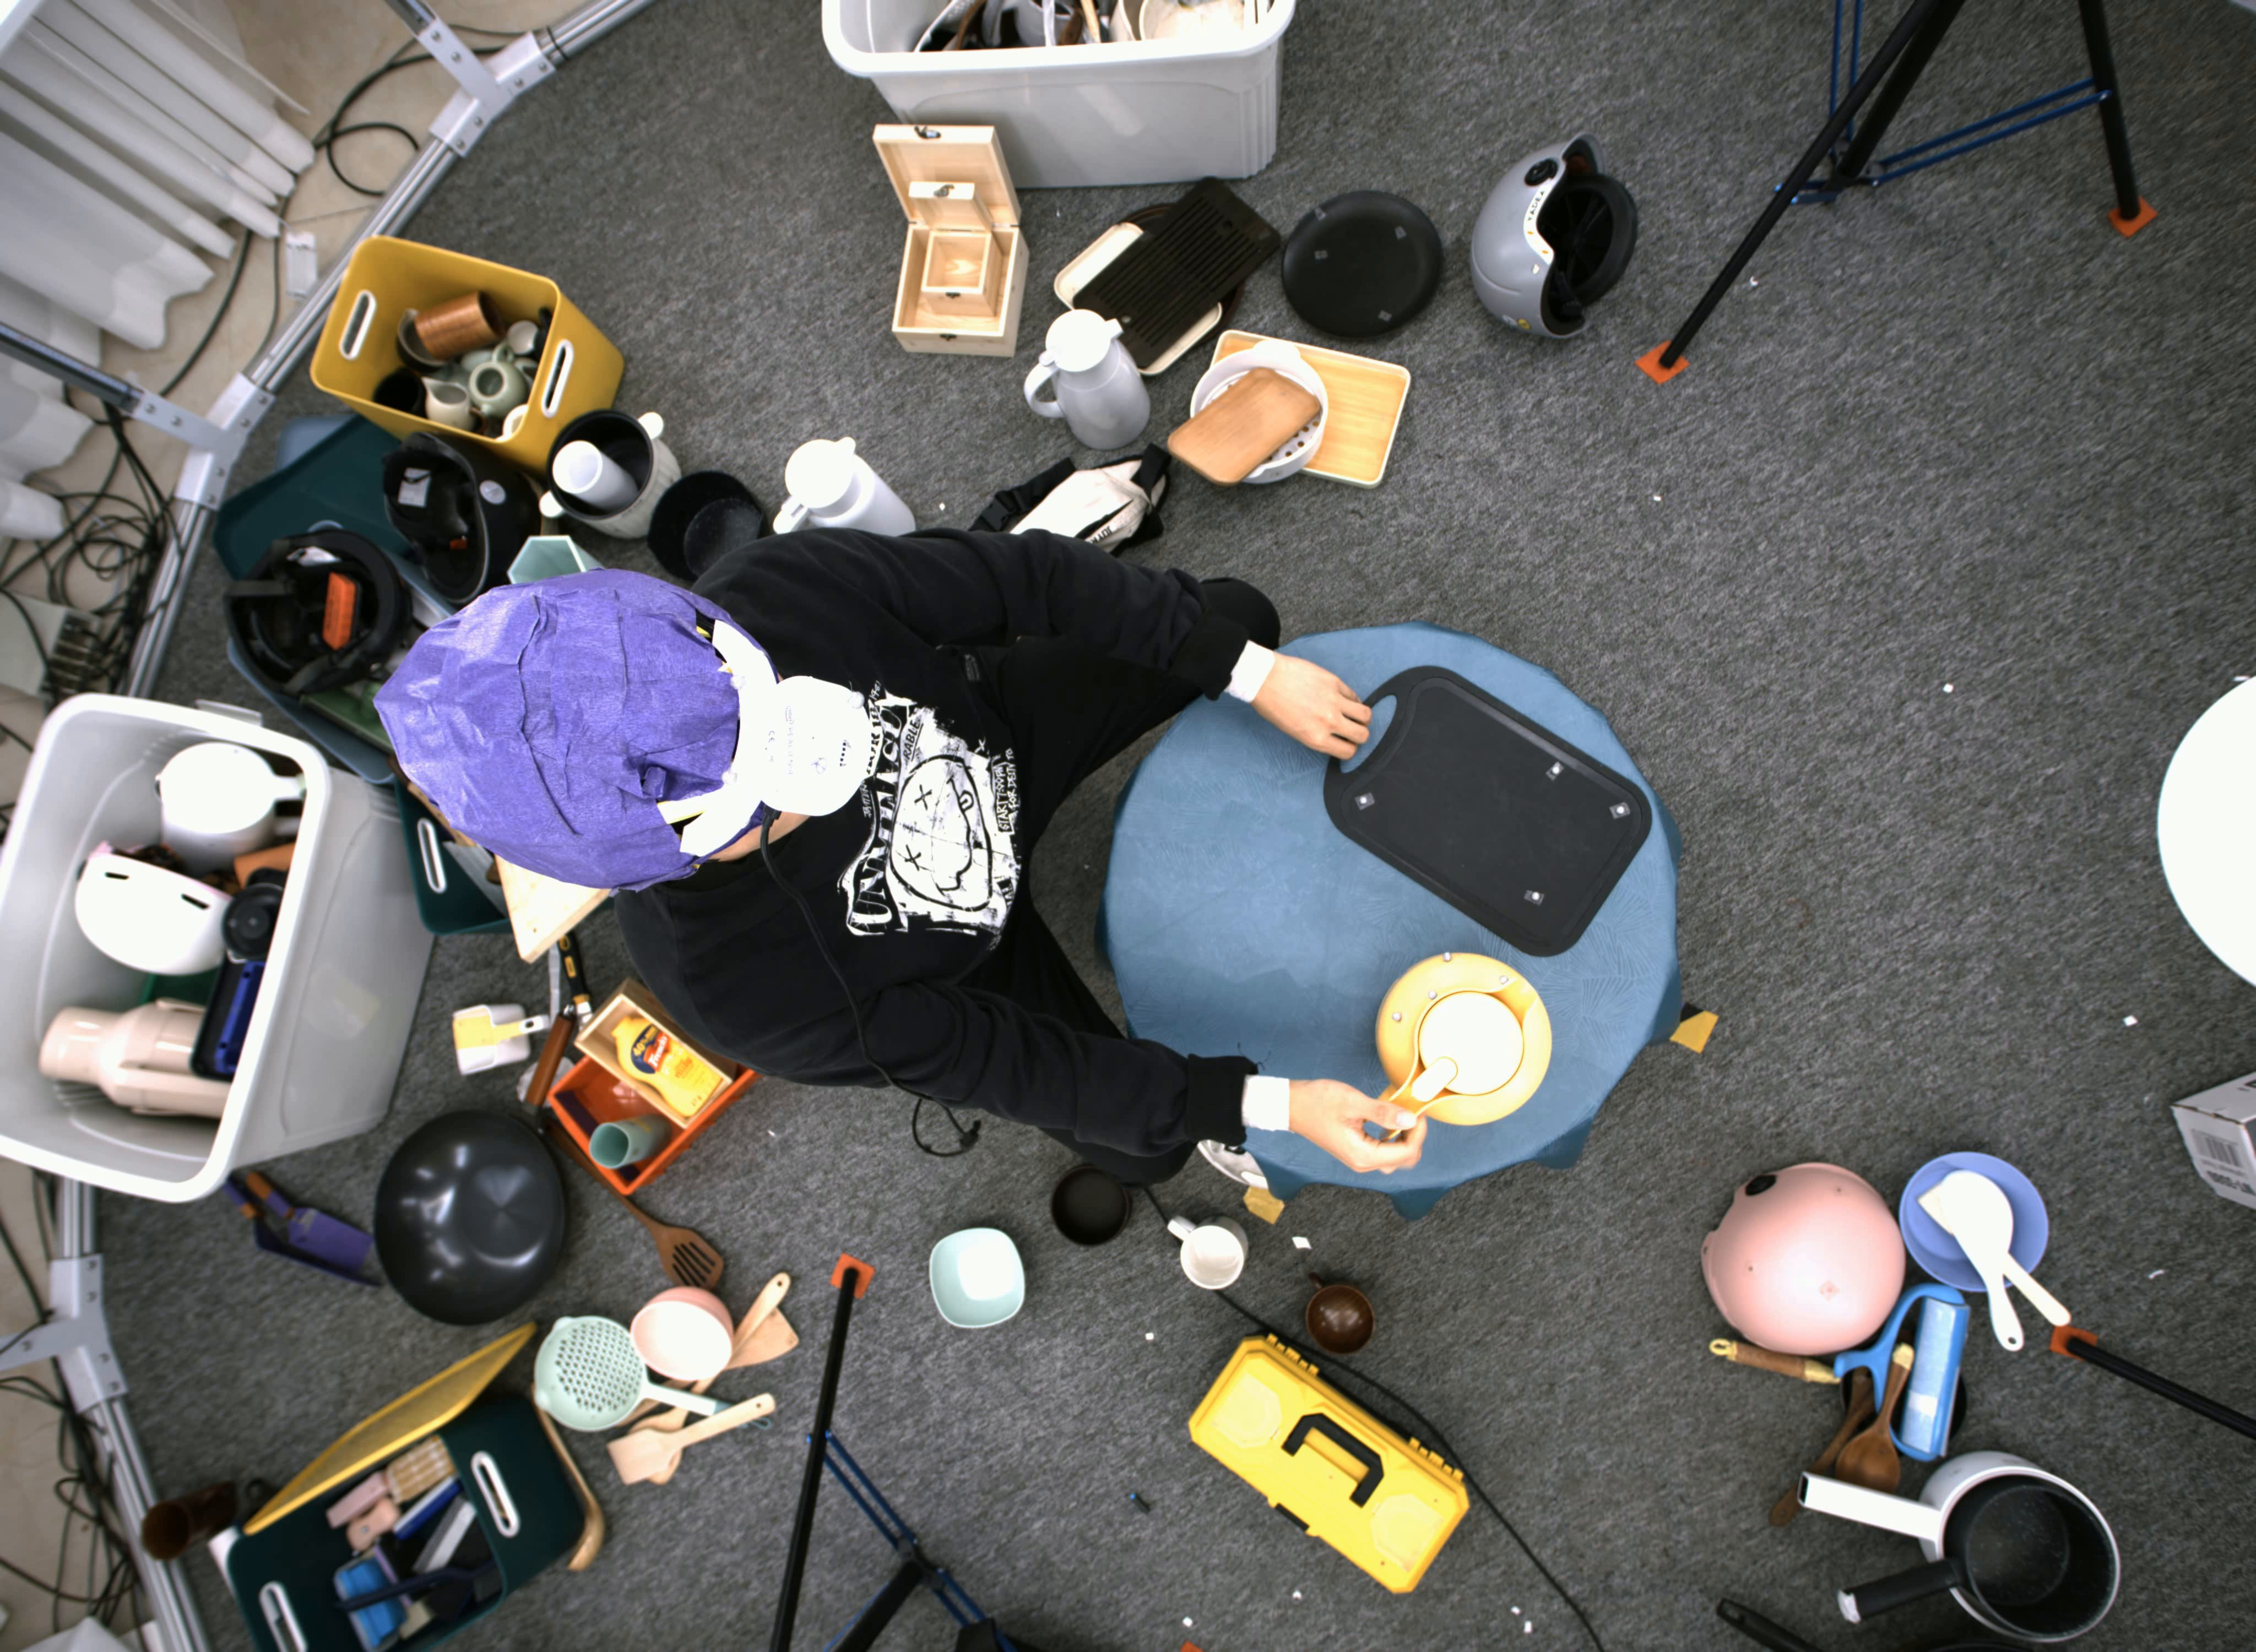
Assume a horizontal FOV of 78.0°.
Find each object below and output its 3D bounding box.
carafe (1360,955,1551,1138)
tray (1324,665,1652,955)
[{"bbox_3d":[0.302,0.213,1.314,0.203,0.261,0.162,-42,77,3],"label":"carafe"},{"bbox_3d":[0.369,-0.026,1.443,0.324,0.010,0.211,35,94,10],"label":"tray"}]
